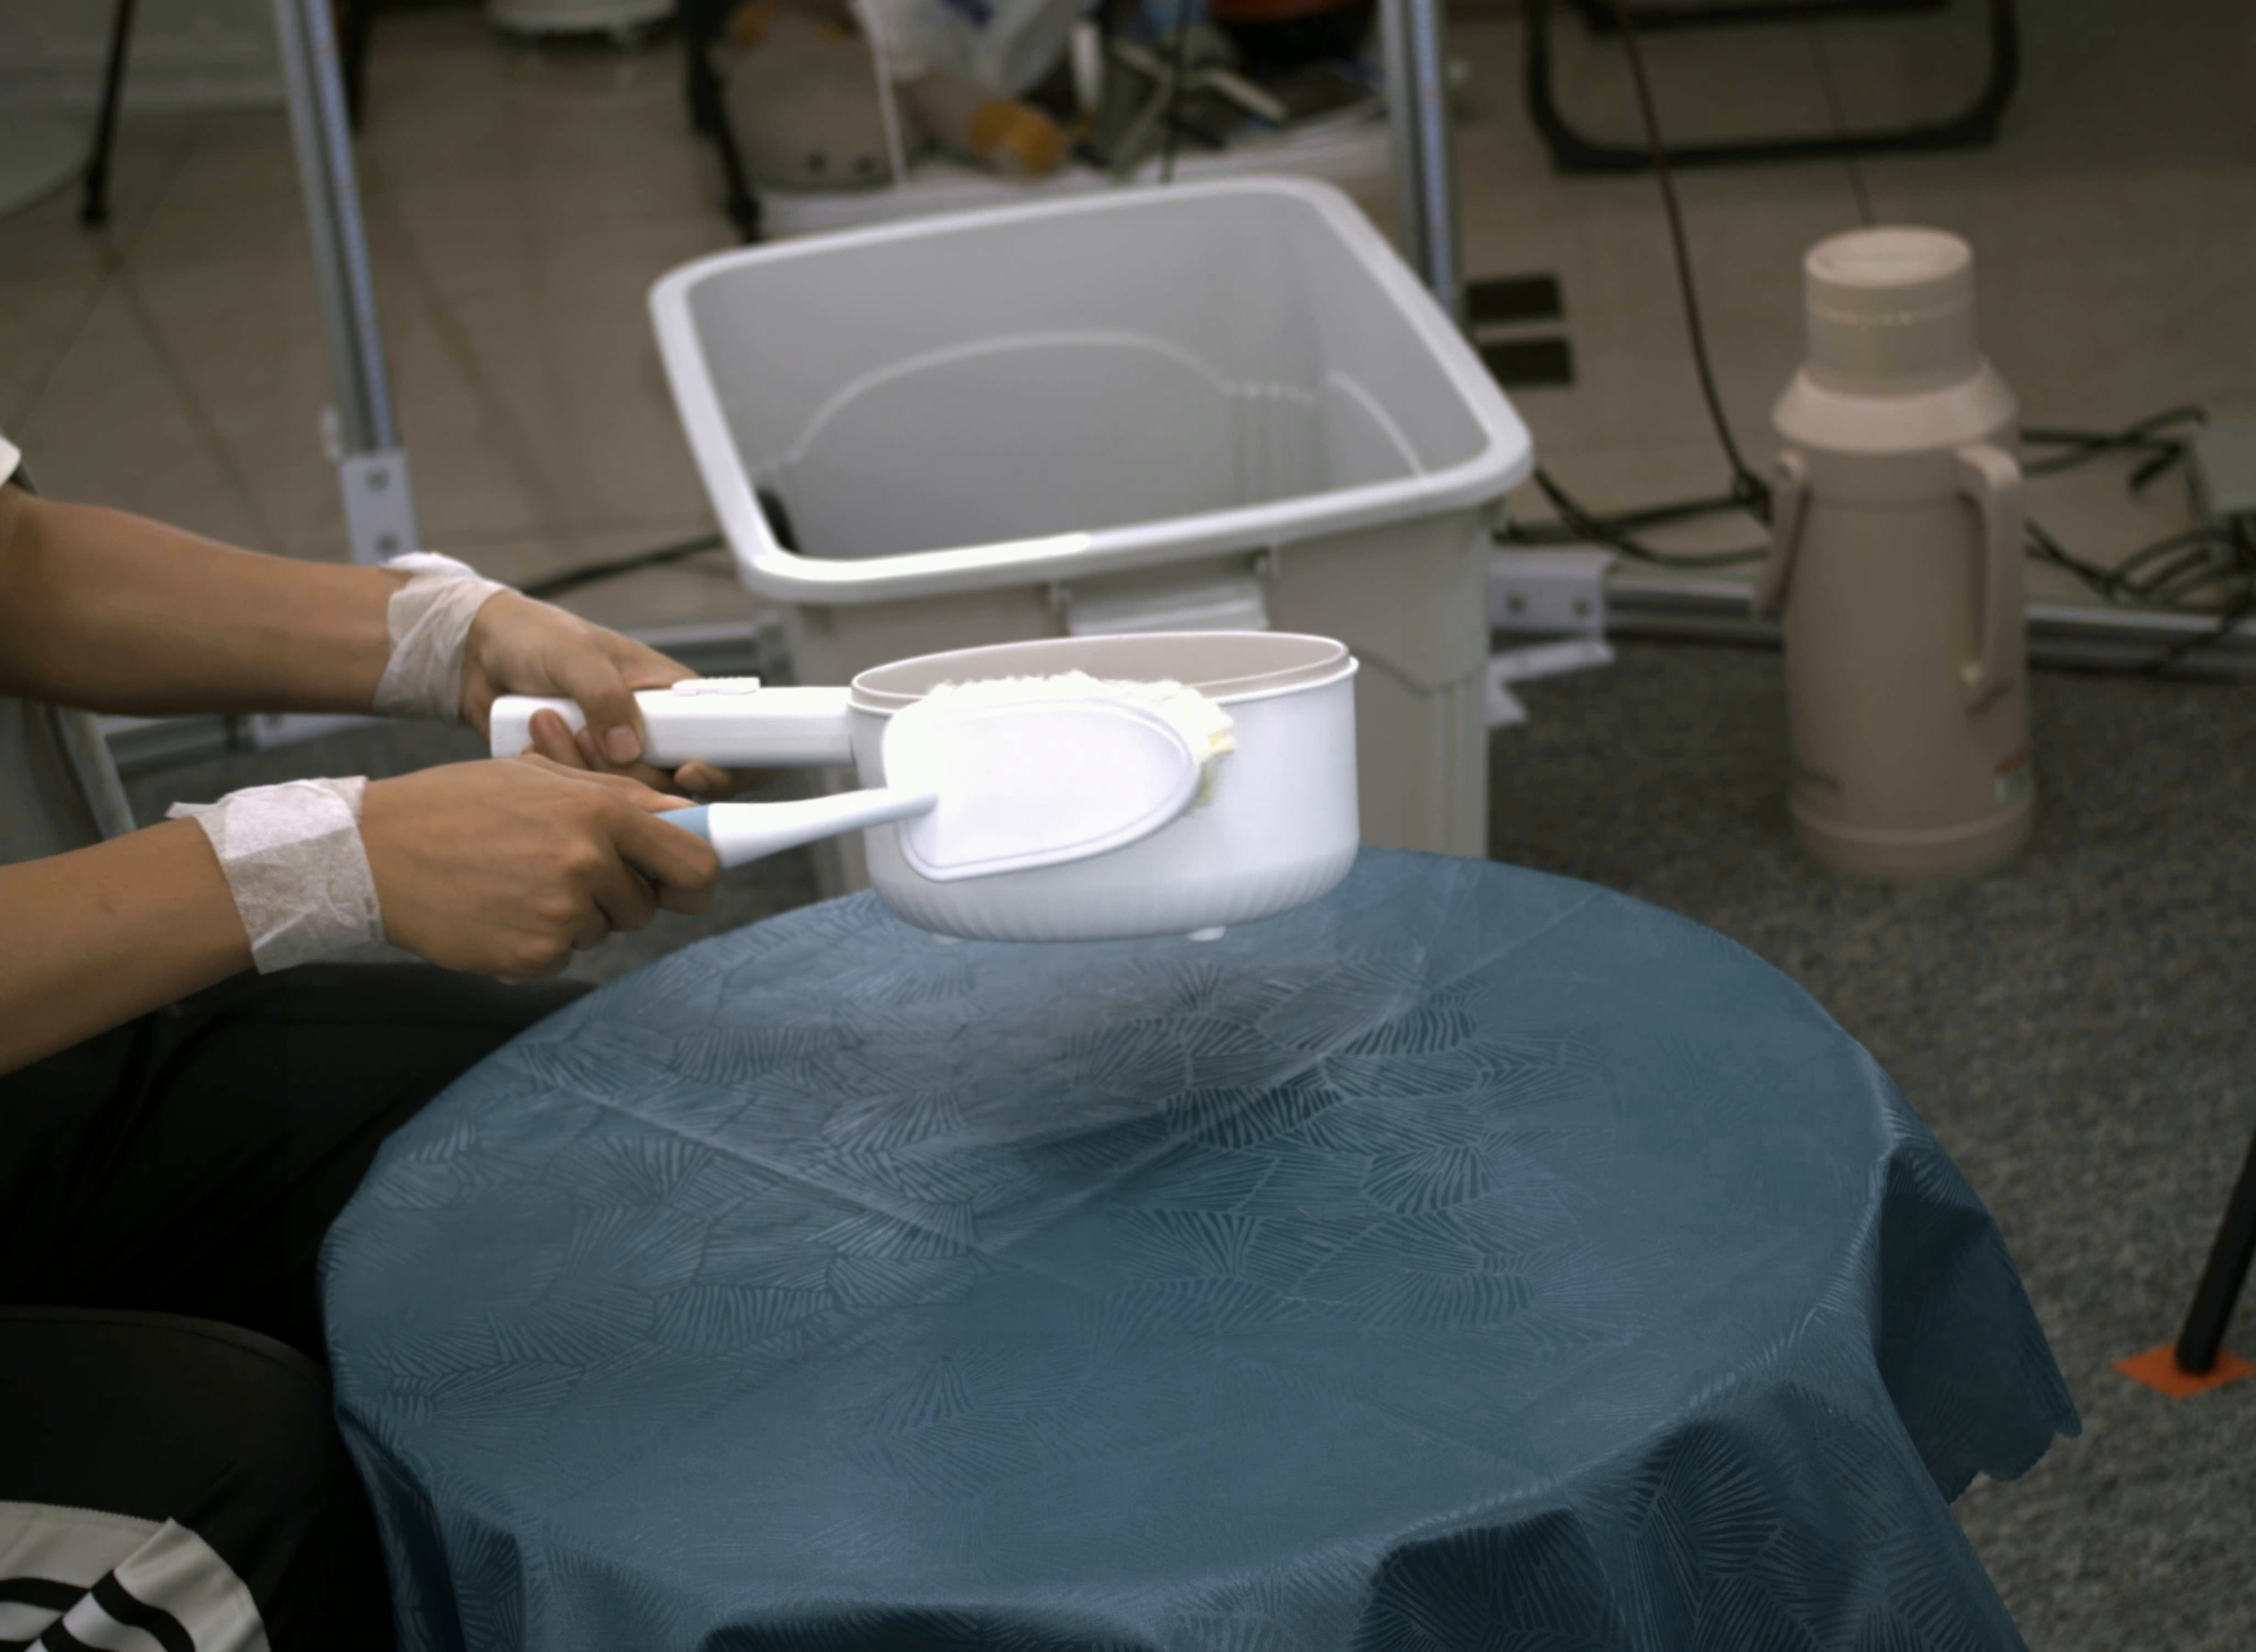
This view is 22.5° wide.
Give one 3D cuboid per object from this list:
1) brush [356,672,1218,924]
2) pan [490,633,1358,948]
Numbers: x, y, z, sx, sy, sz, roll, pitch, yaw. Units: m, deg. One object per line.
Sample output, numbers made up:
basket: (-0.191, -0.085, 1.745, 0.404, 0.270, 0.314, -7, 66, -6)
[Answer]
brush: (-0.126, -0.009, 2.104, 0.325, 0.086, 0.082, -9, 60, 9)
pan: (-0.081, -0.011, 2.235, 0.354, 0.103, 0.200, -2, 9, 18)
